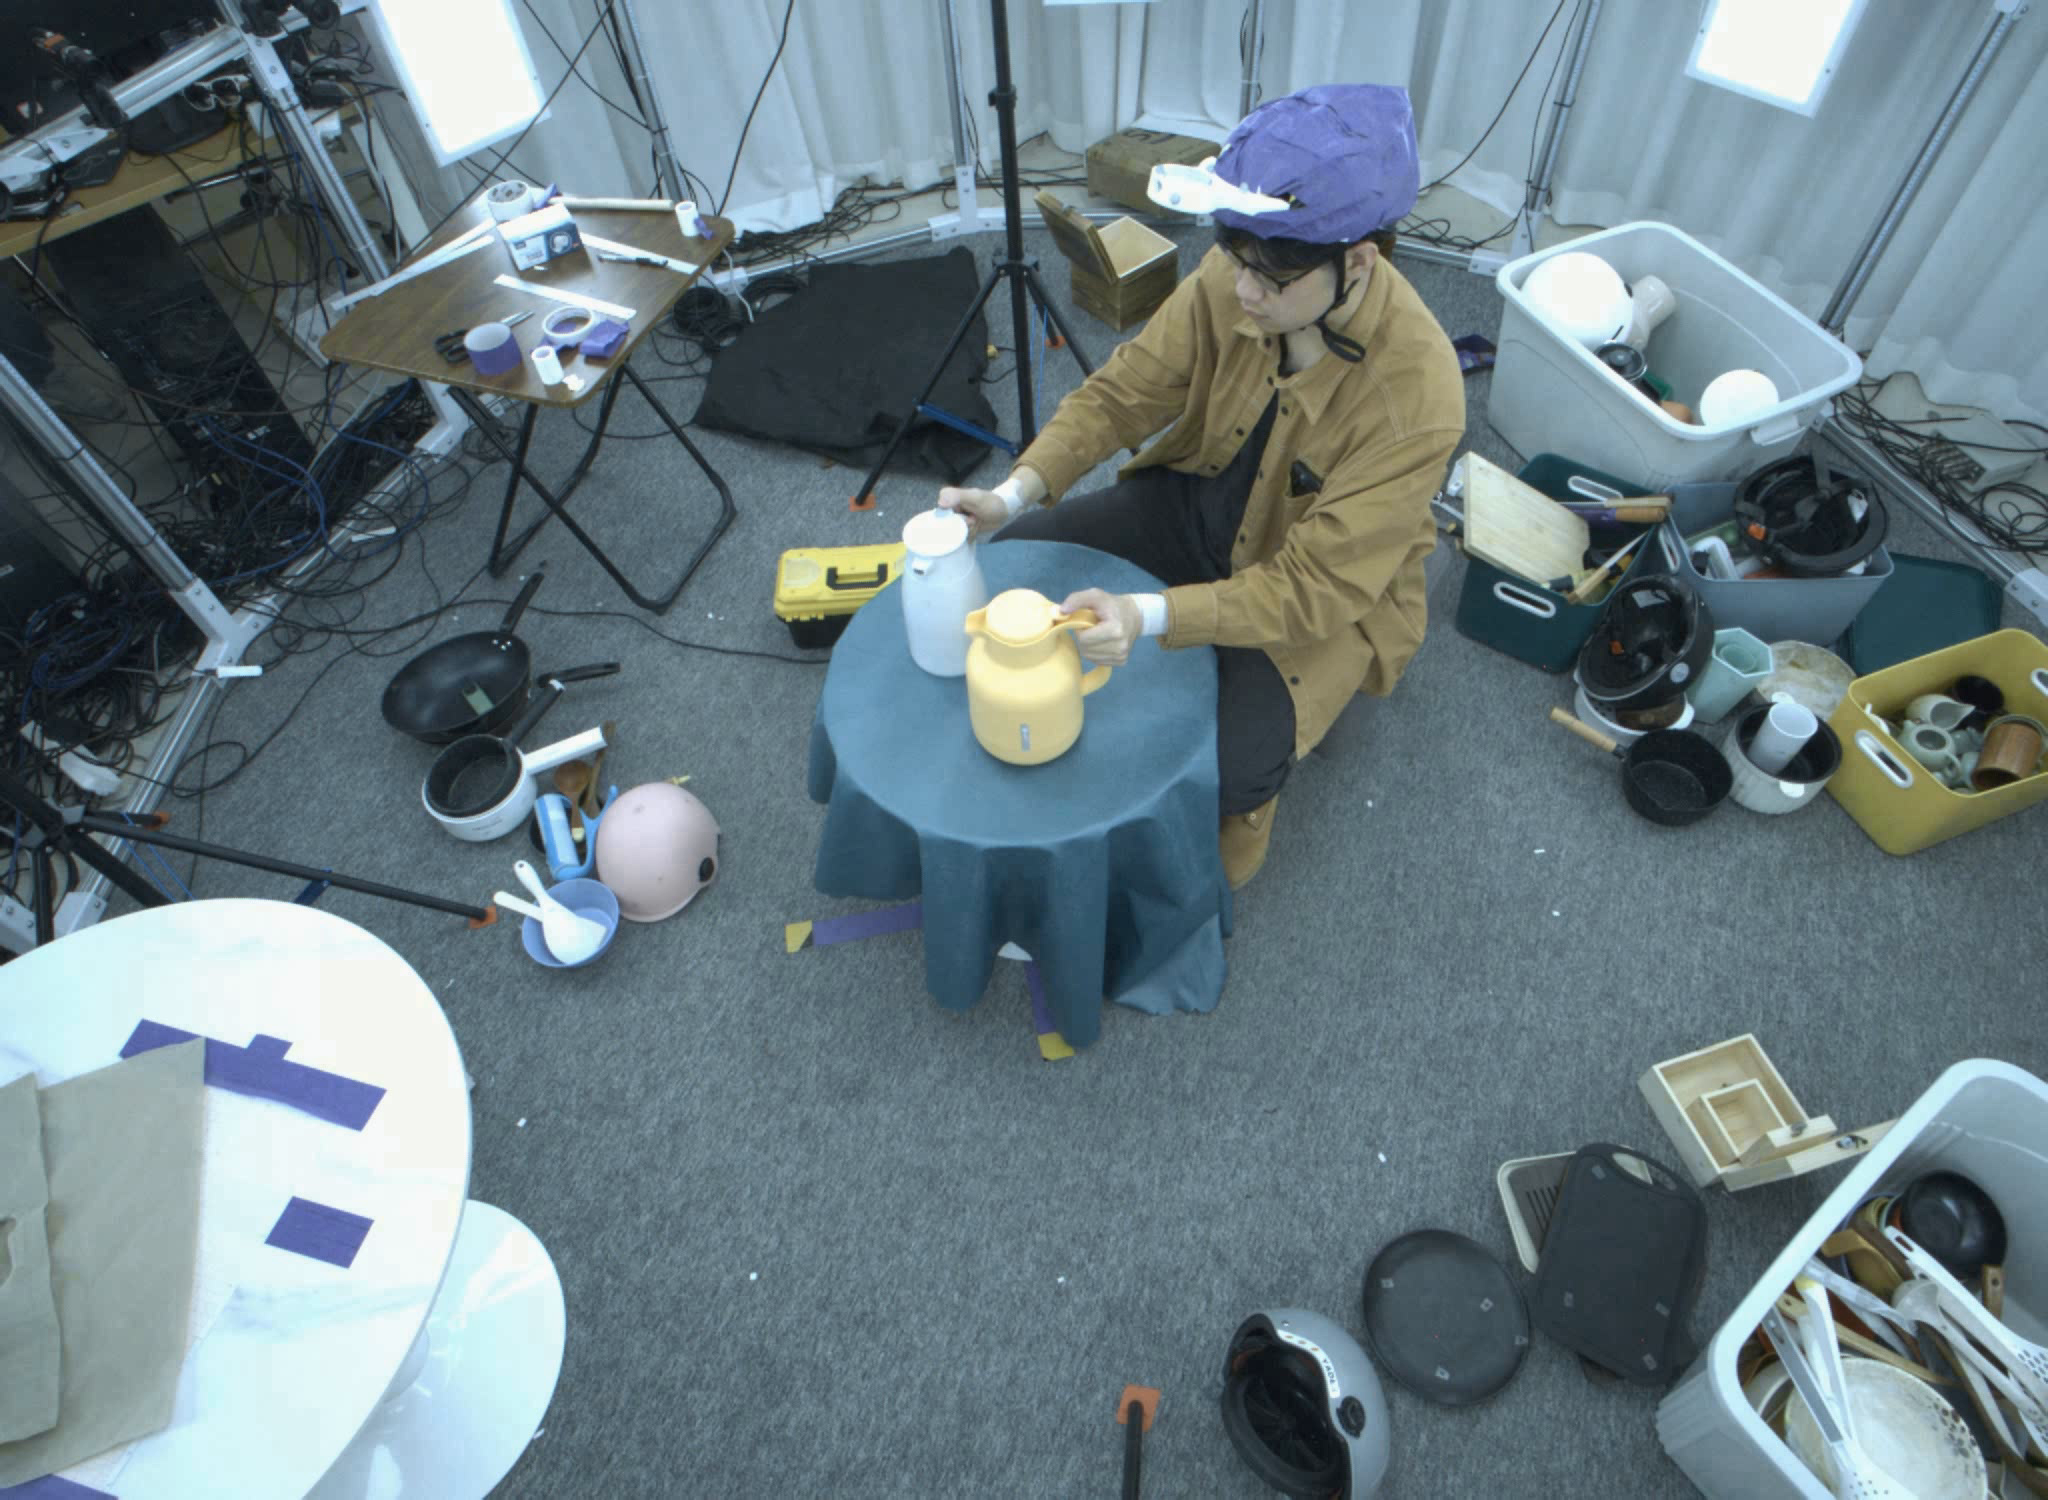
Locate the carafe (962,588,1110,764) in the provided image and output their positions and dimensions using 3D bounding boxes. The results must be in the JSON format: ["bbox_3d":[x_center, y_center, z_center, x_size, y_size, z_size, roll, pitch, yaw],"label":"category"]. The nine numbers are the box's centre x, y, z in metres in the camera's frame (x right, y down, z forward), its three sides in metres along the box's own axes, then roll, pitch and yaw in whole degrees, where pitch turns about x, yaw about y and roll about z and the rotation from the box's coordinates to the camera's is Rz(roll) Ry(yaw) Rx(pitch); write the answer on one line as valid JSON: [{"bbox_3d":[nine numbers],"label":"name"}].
[{"bbox_3d":[0.019,-0.107,1.698,0.202,0.263,0.162,-3,56,3],"label":"carafe"}]

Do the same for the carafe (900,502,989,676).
[{"bbox_3d":[-0.115,-0.251,1.812,0.131,0.251,0.167,14,56,14],"label":"carafe"}]
